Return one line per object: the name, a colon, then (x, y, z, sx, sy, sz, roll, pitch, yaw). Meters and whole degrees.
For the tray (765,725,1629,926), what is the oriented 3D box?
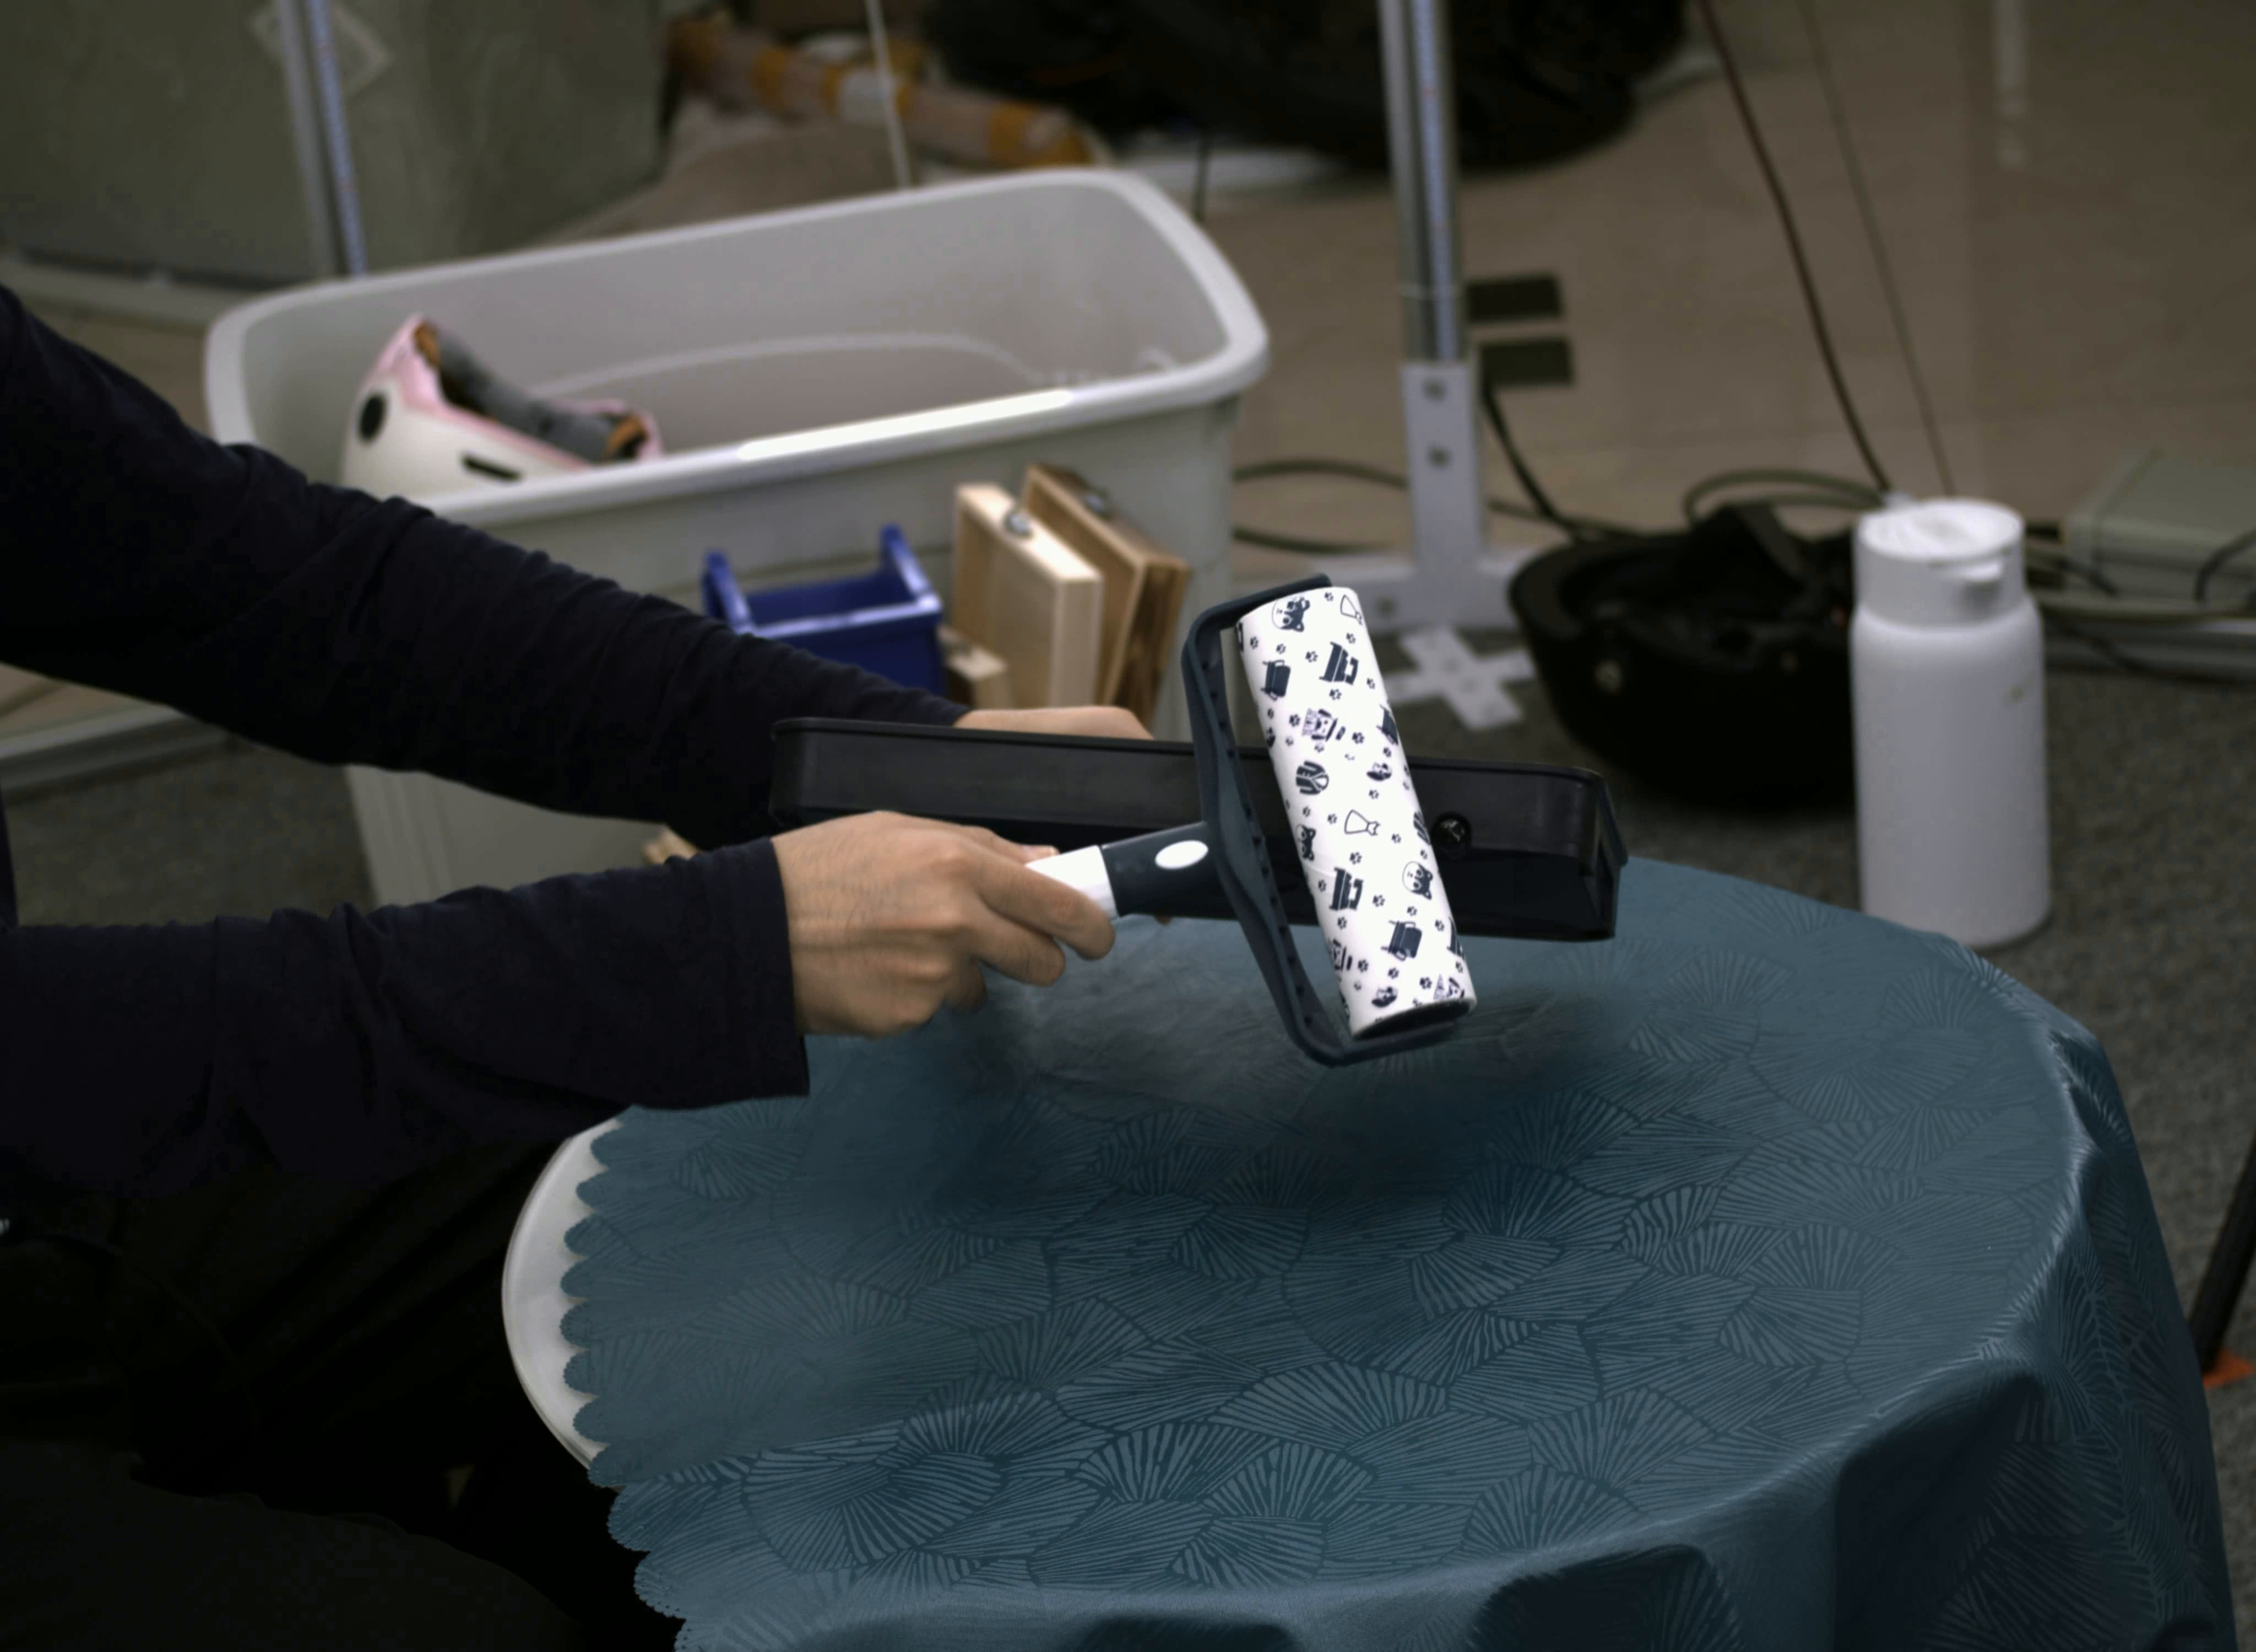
tray: (0.029, 0.001, 2.185, 0.317, 0.037, 0.185, 2, -11, 10)

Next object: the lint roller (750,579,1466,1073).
lint roller: (-0.017, 0.026, 2.039, 0.246, 0.175, 0.051, -16, -12, -1)
